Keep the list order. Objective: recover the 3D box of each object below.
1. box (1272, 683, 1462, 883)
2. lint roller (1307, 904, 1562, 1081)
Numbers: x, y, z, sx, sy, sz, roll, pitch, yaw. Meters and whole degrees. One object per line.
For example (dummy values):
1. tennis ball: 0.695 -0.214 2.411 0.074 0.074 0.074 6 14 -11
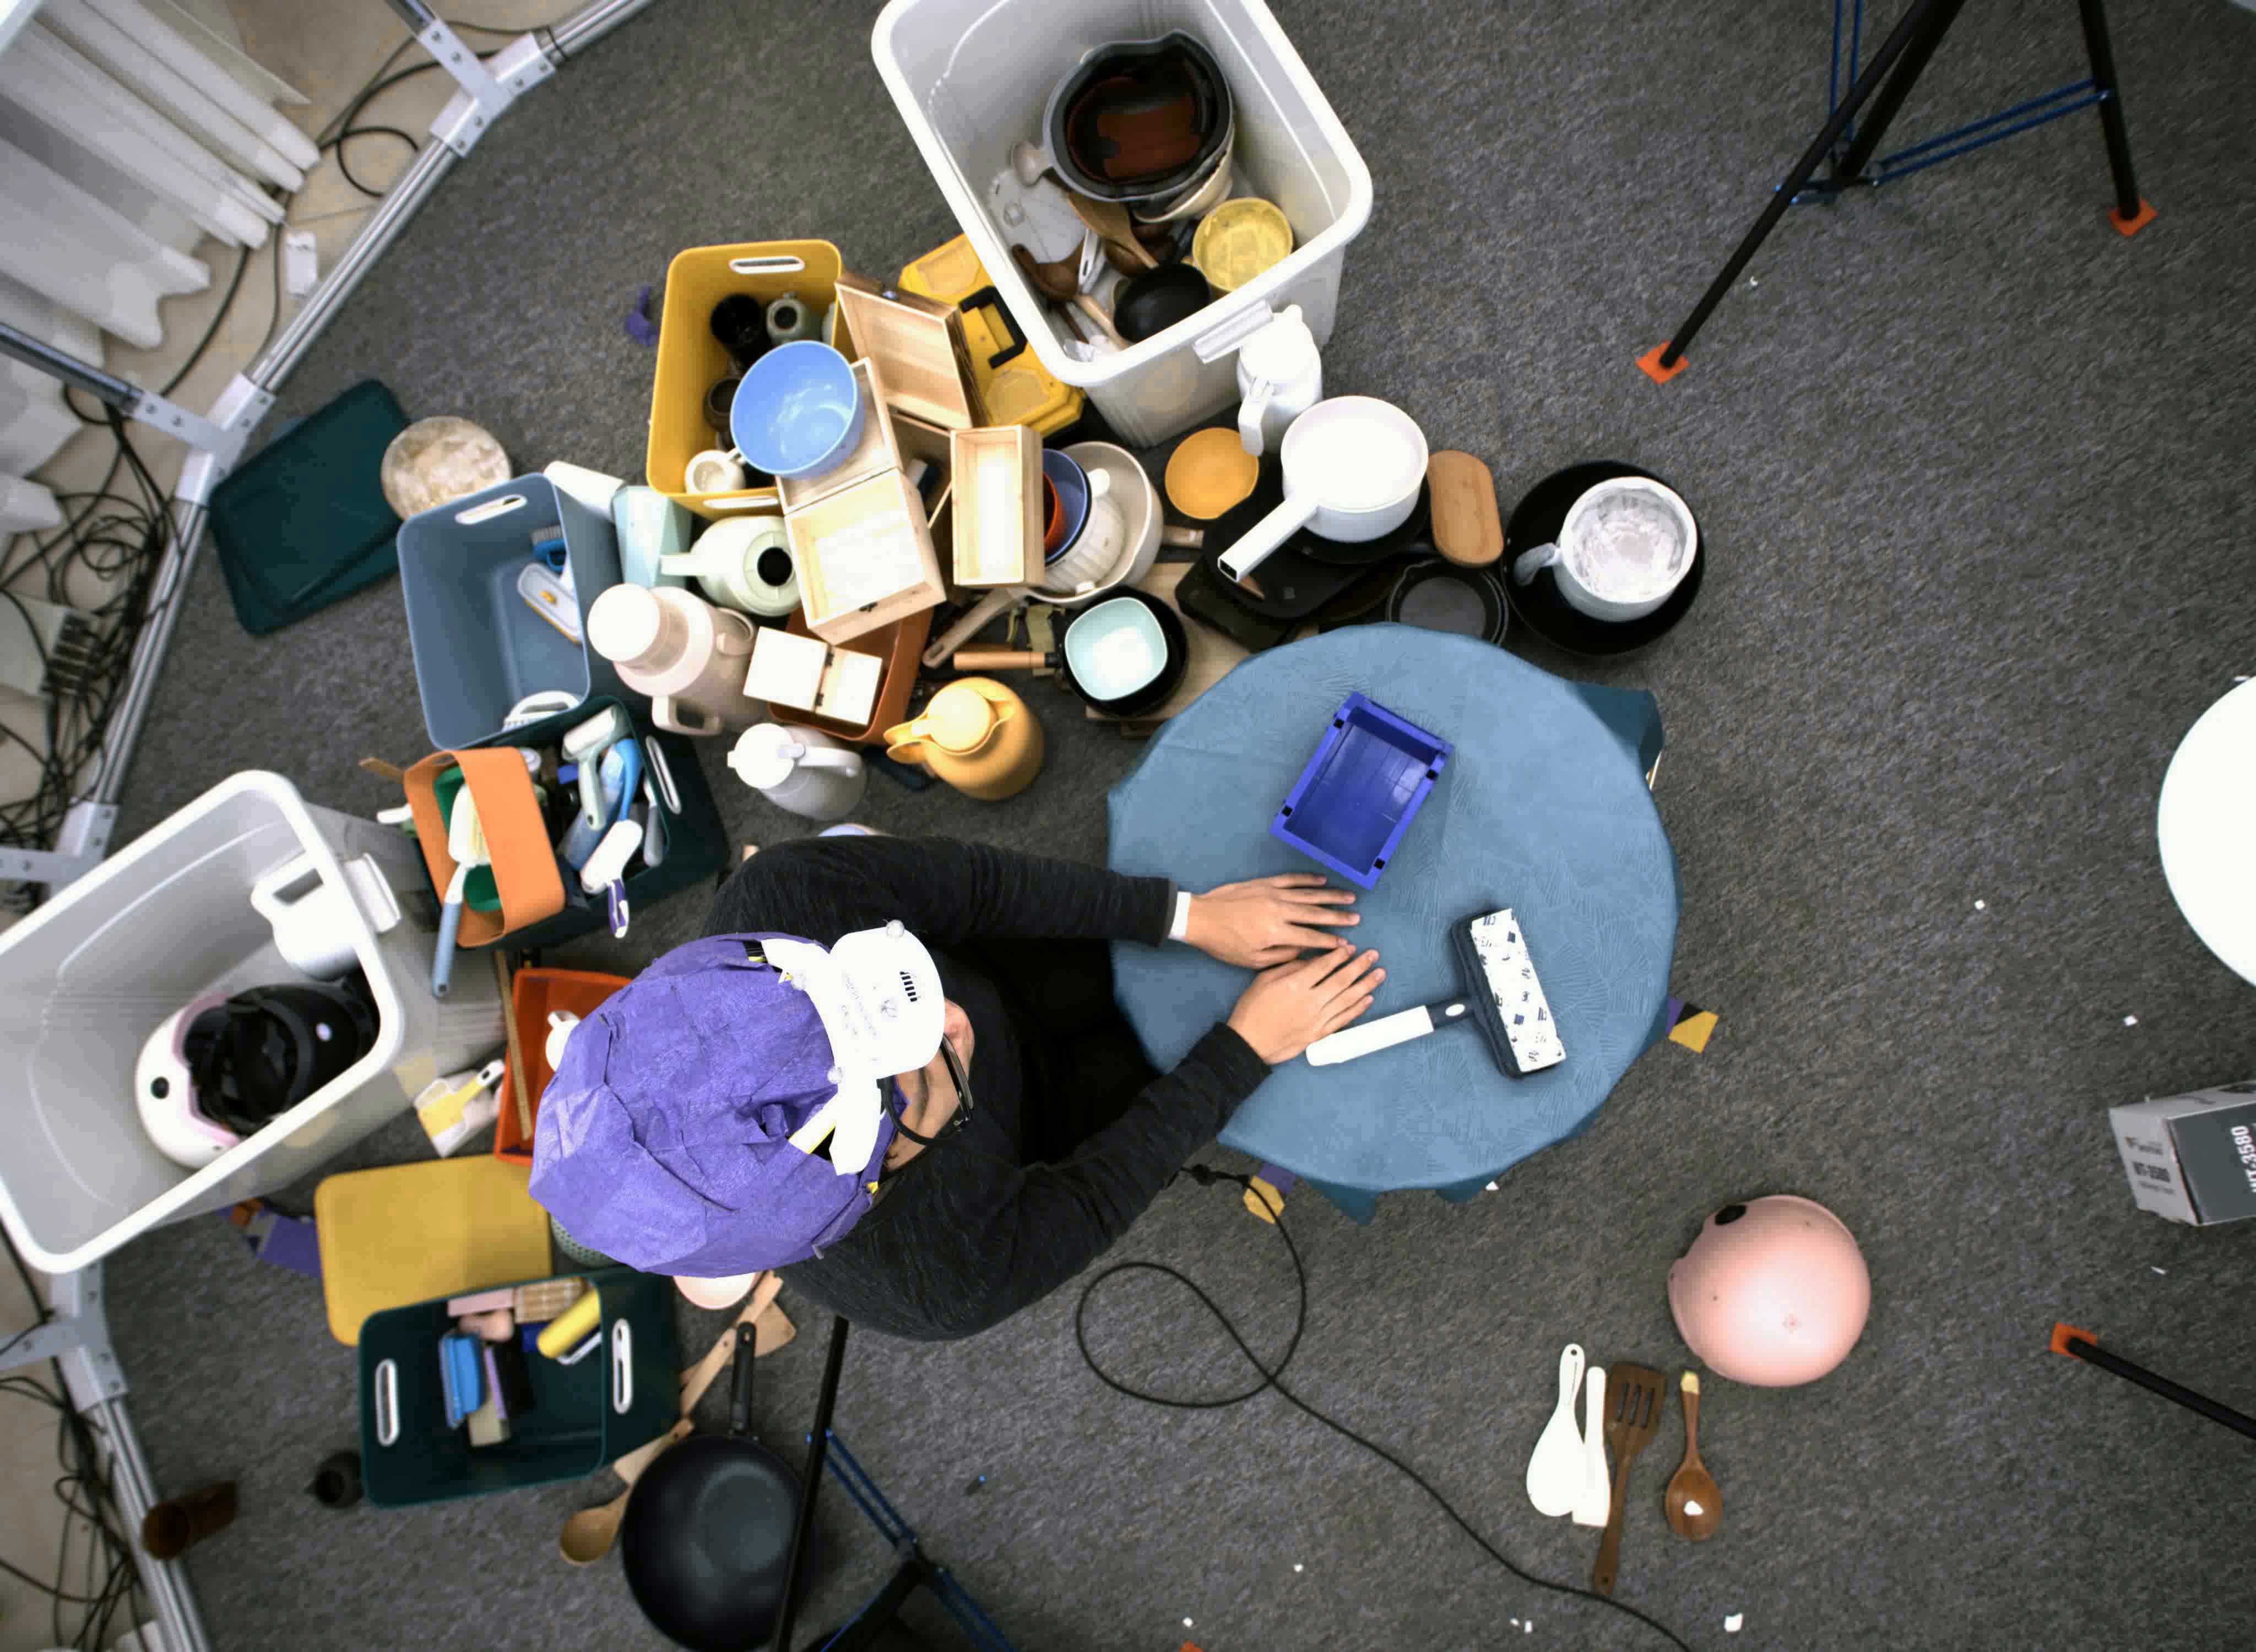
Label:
1. box: 0.247 -0.049 1.430 0.124 0.082 0.180 32 95 11
2. lint roller: 0.303 0.201 1.425 0.248 0.050 0.175 -21 84 10
